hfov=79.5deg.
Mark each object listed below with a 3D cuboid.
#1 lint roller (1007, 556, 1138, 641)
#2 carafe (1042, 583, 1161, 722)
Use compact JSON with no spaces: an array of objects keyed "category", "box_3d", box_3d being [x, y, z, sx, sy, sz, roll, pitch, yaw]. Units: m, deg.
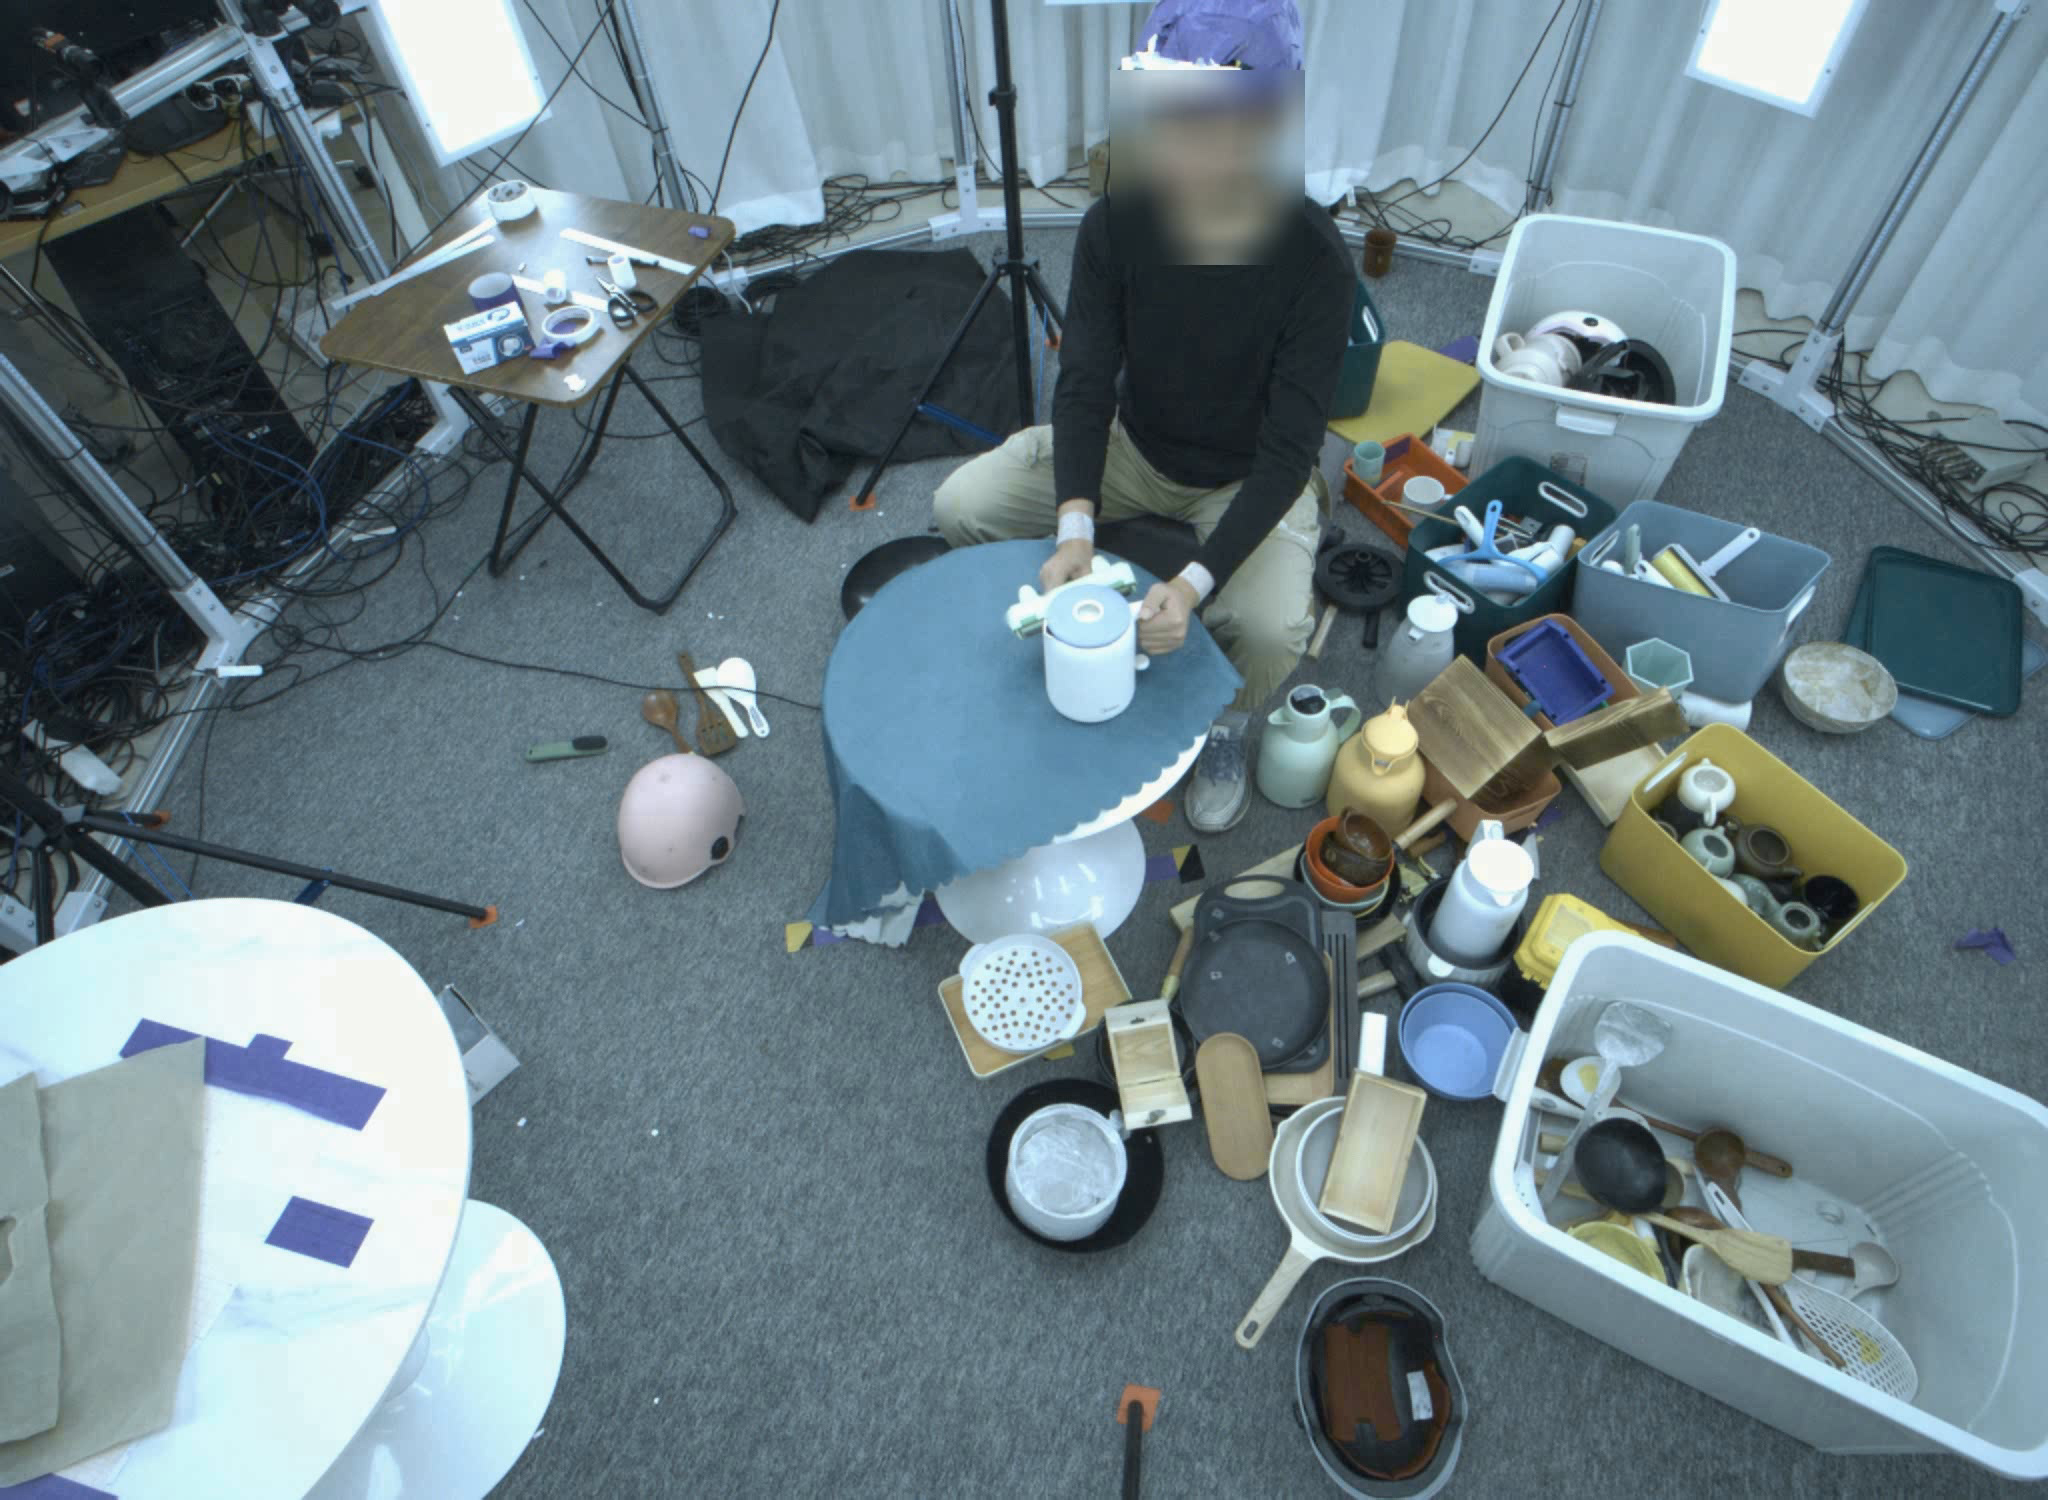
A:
[{"category":"lint roller","box_3d":[0.066,-0.252,1.870,0.198,0.083,0.181,-21,29,5]},{"category":"carafe","box_3d":[0.116,-0.149,1.783,0.192,0.184,0.130,-22,57,-14]}]
